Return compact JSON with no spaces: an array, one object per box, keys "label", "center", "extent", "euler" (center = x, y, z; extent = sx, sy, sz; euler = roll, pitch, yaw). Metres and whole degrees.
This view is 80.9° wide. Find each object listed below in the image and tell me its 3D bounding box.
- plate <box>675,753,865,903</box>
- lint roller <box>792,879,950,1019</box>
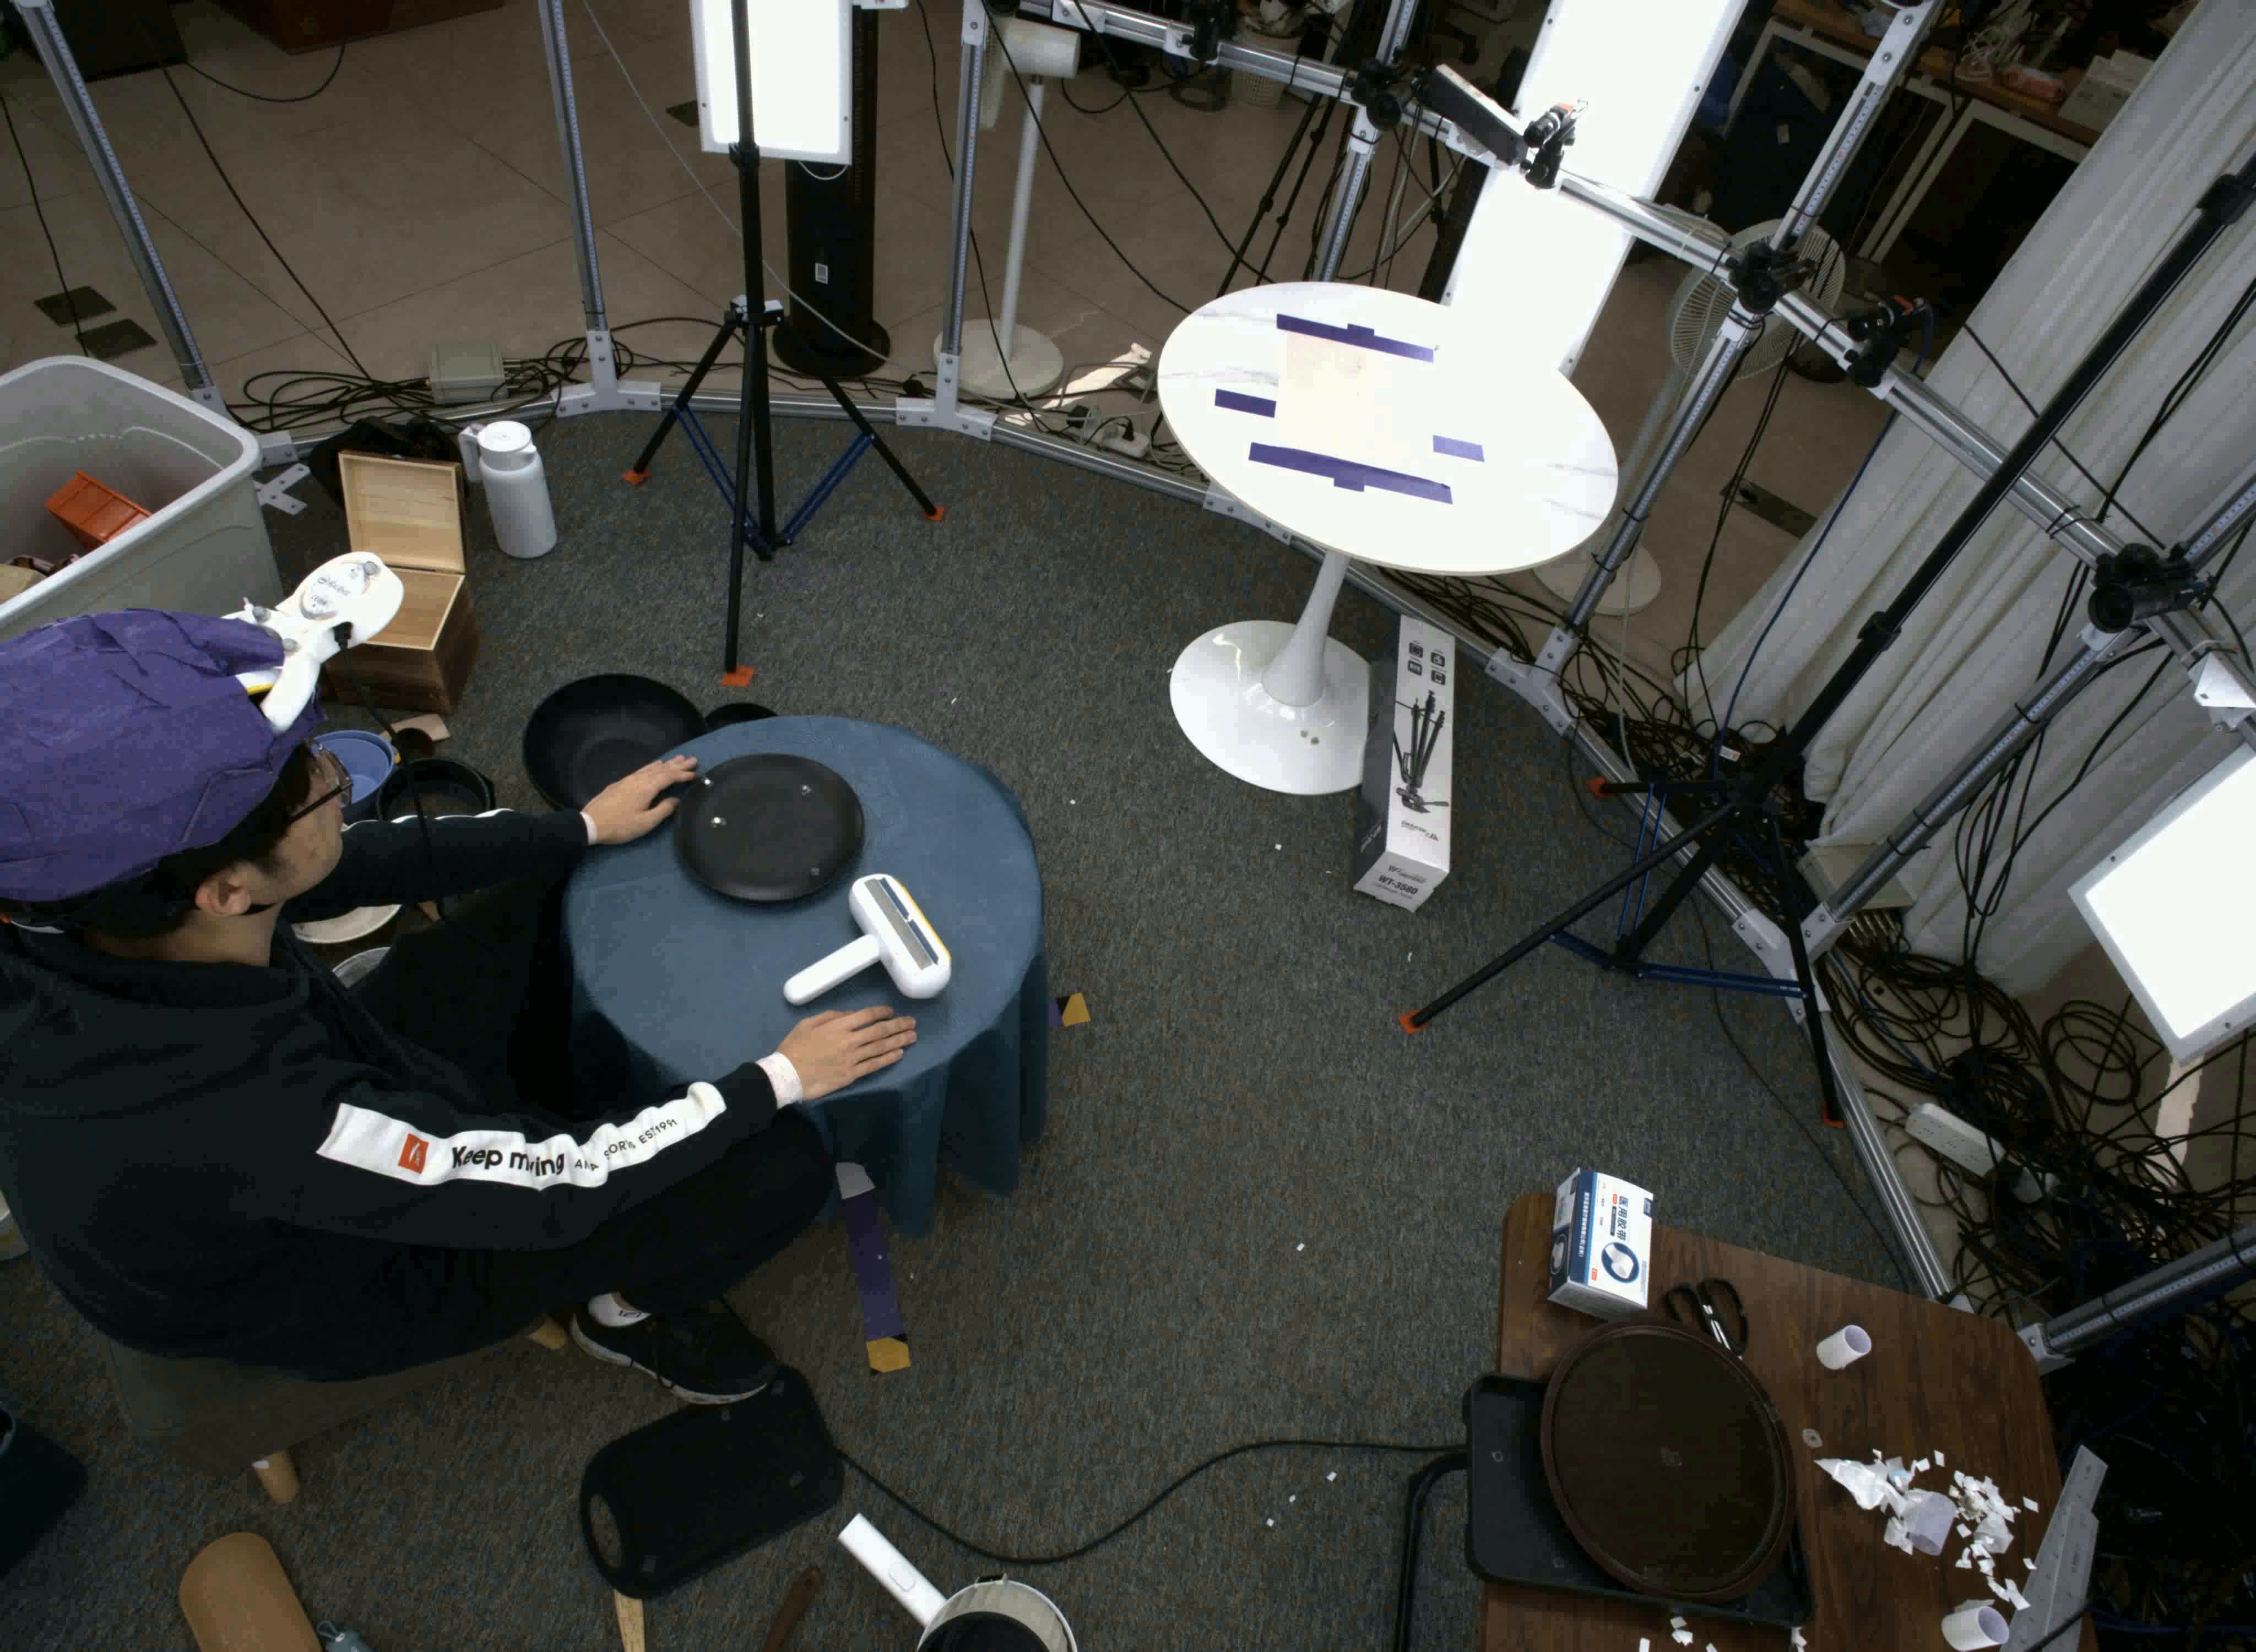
[{"label":"plate","center":[-0.469,0.002,1.702],"extent":[0.244,0.024,0.240],"euler":[8,53,-9]},{"label":"lint roller","center":[-0.332,0.171,1.608],"extent":[0.192,0.076,0.187],"euler":[-25,56,-12]}]
